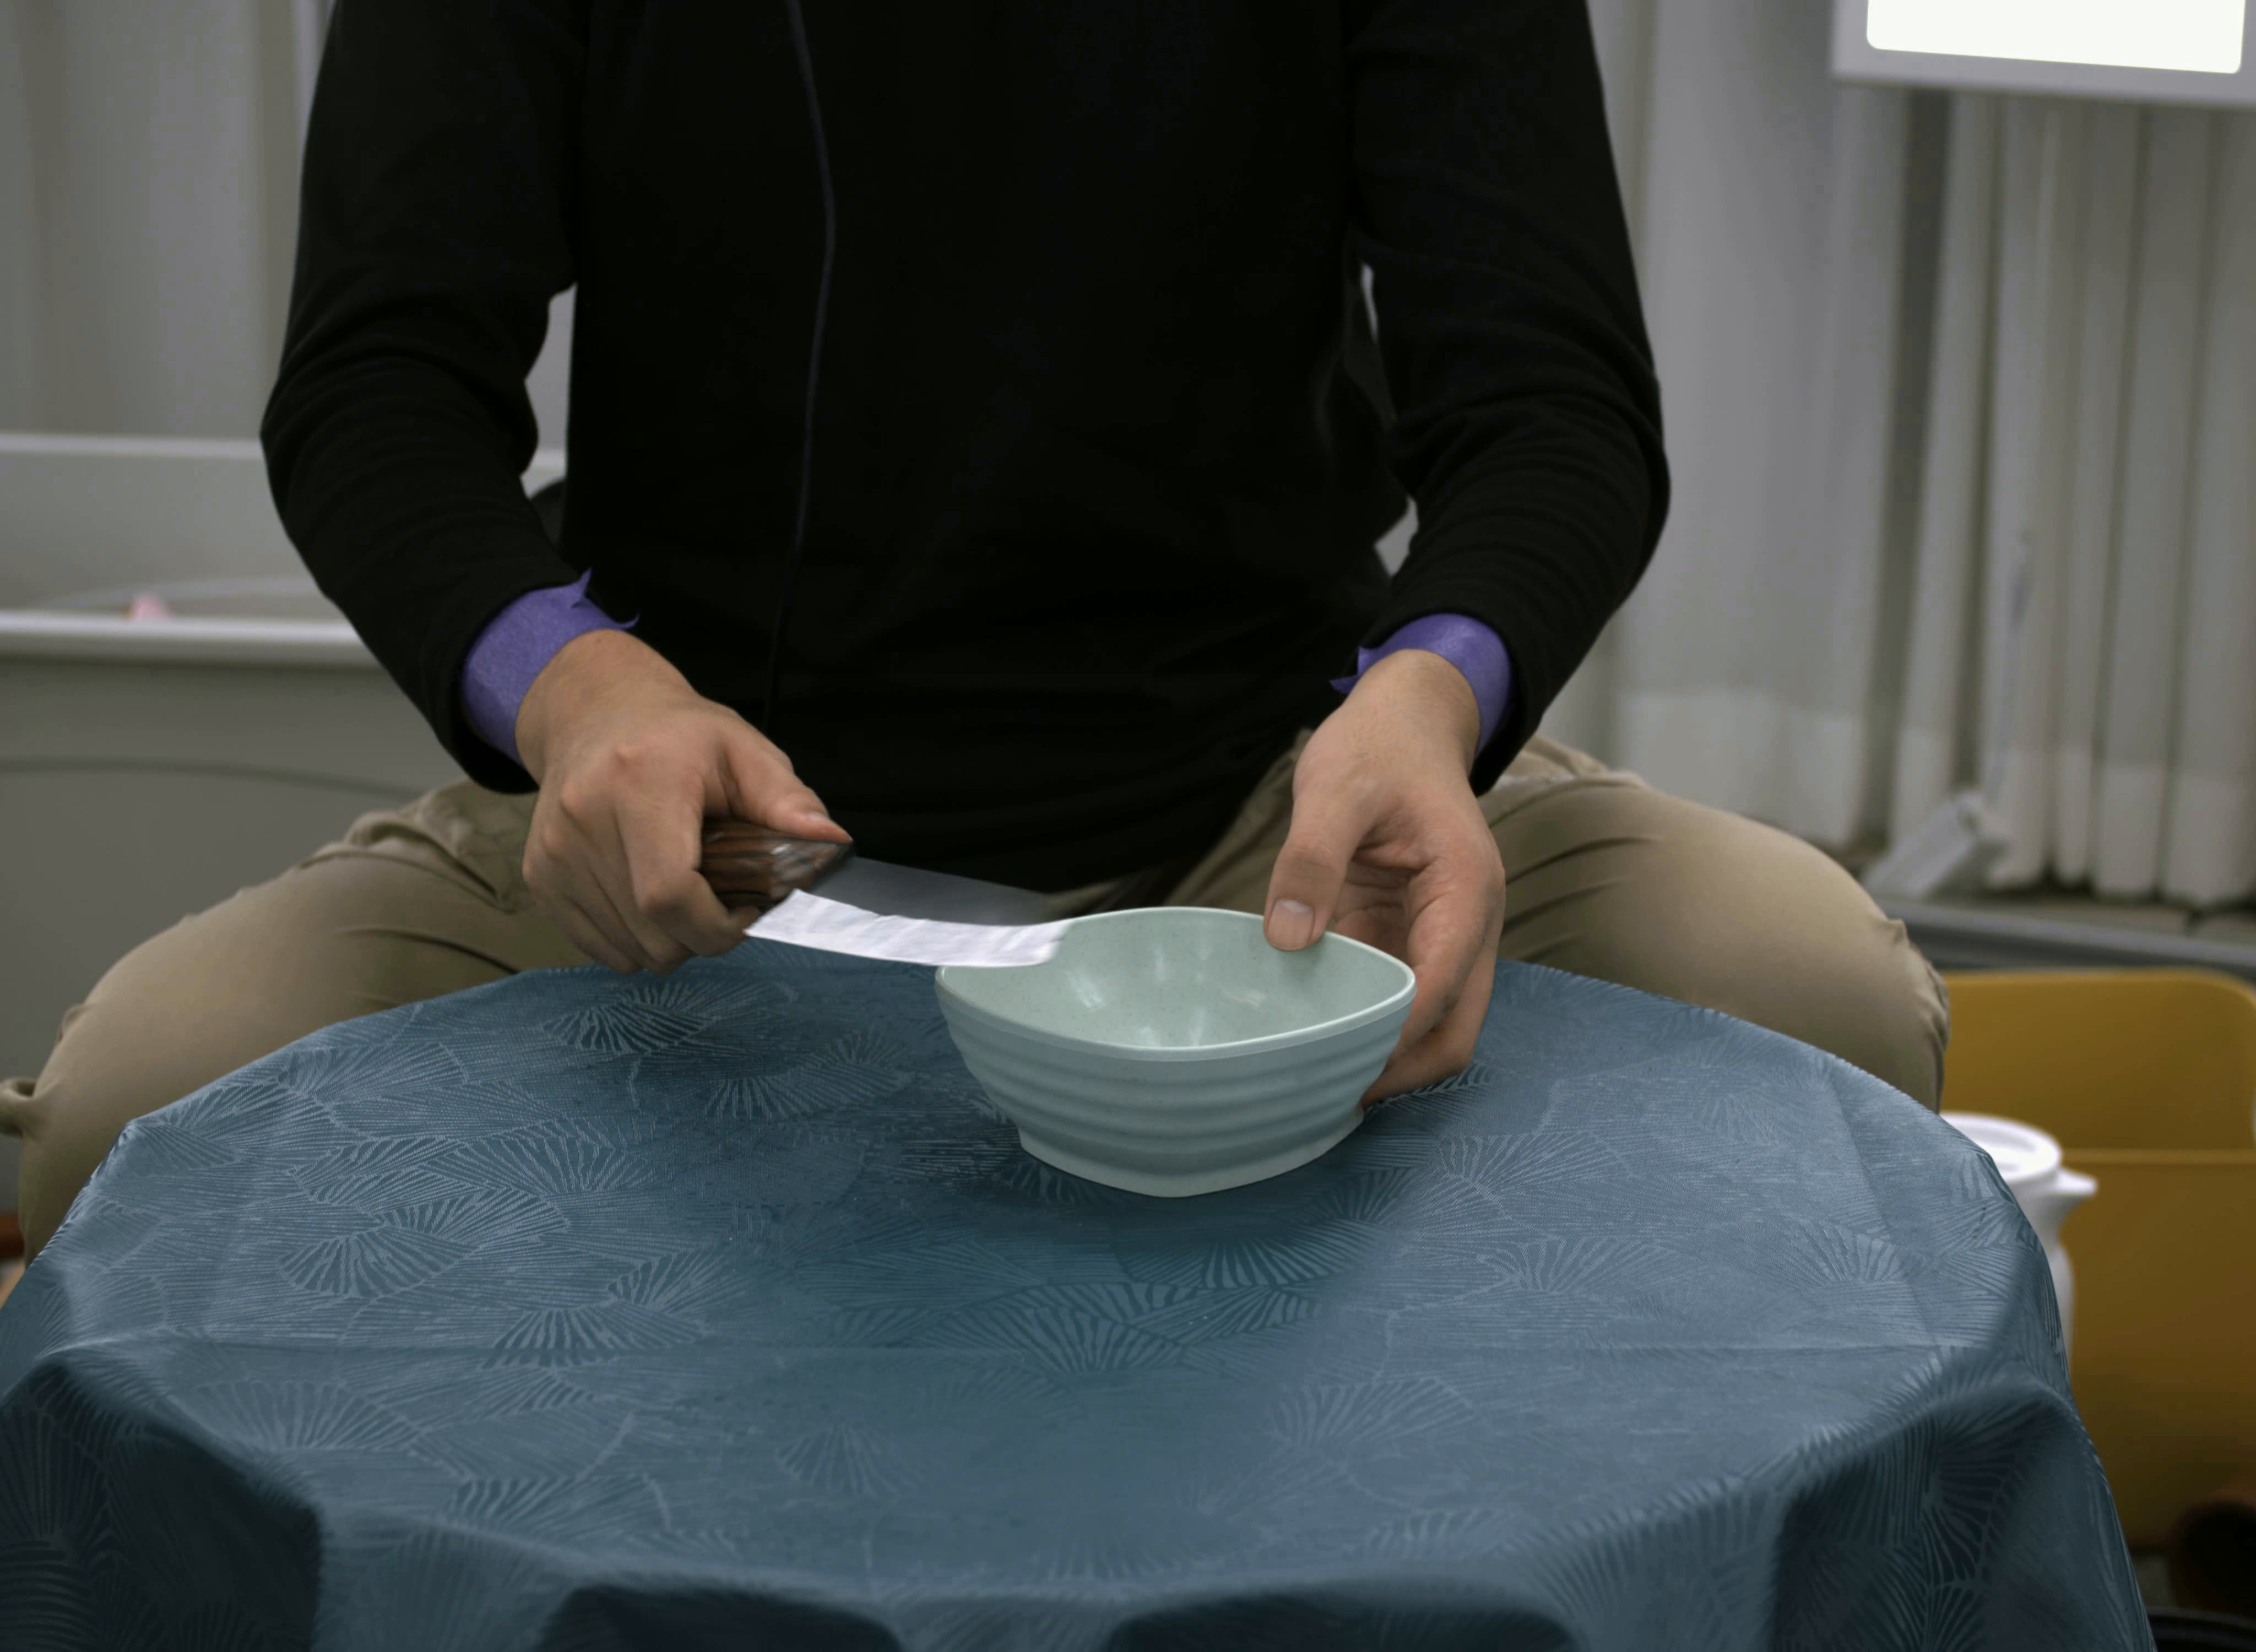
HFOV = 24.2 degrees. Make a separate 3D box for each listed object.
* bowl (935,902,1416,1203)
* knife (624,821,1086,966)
[{"bbox_3d":[0.014,0.074,1.656,0.151,0.059,0.150,1,17,0],"label":"bowl"},{"bbox_3d":[-0.088,0.022,1.647,0.050,0.020,0.286,-38,23,-22],"label":"knife"}]
